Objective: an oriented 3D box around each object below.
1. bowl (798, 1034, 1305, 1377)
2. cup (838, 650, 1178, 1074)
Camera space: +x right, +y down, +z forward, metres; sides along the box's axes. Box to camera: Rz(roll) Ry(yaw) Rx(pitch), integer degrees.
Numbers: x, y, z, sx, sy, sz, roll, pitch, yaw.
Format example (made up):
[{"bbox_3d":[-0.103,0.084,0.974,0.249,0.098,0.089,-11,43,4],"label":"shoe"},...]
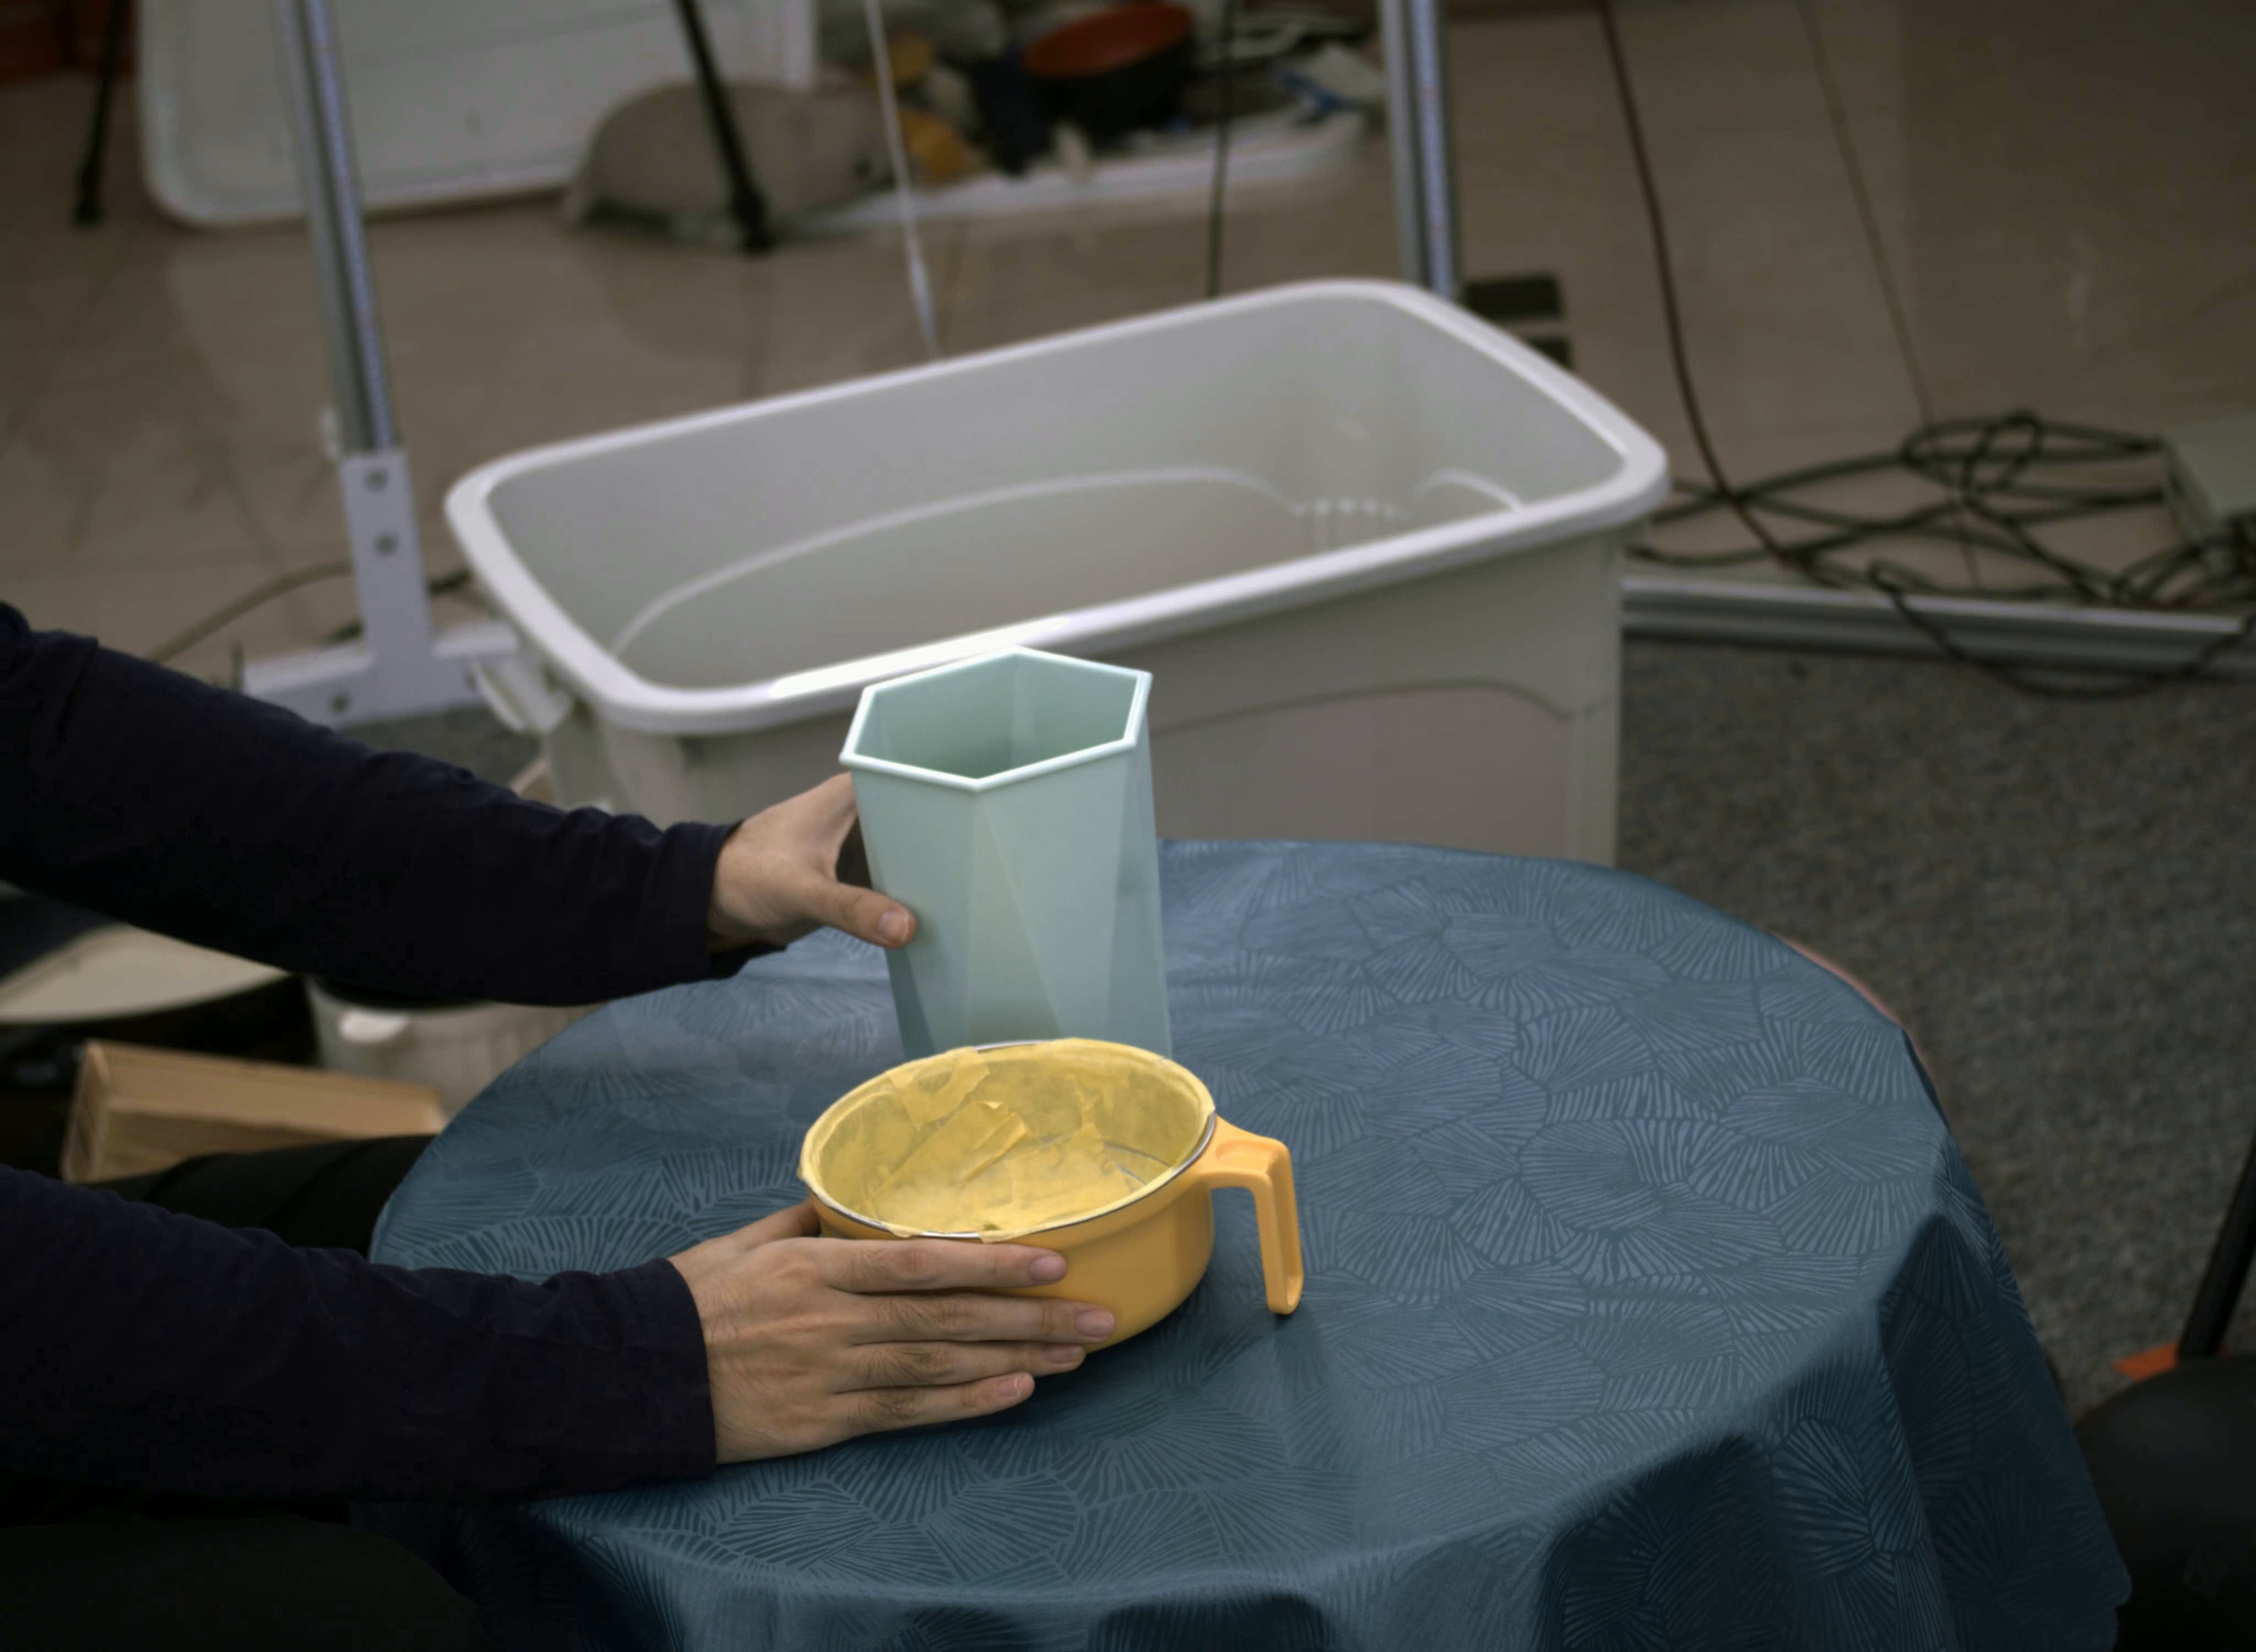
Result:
[{"bbox_3d":[-0.027,0.143,2.067,0.179,0.075,0.151,-2,25,15],"label":"bowl"},{"bbox_3d":[-0.041,0.029,2.199,0.115,0.165,0.129,-6,24,6],"label":"cup"}]
